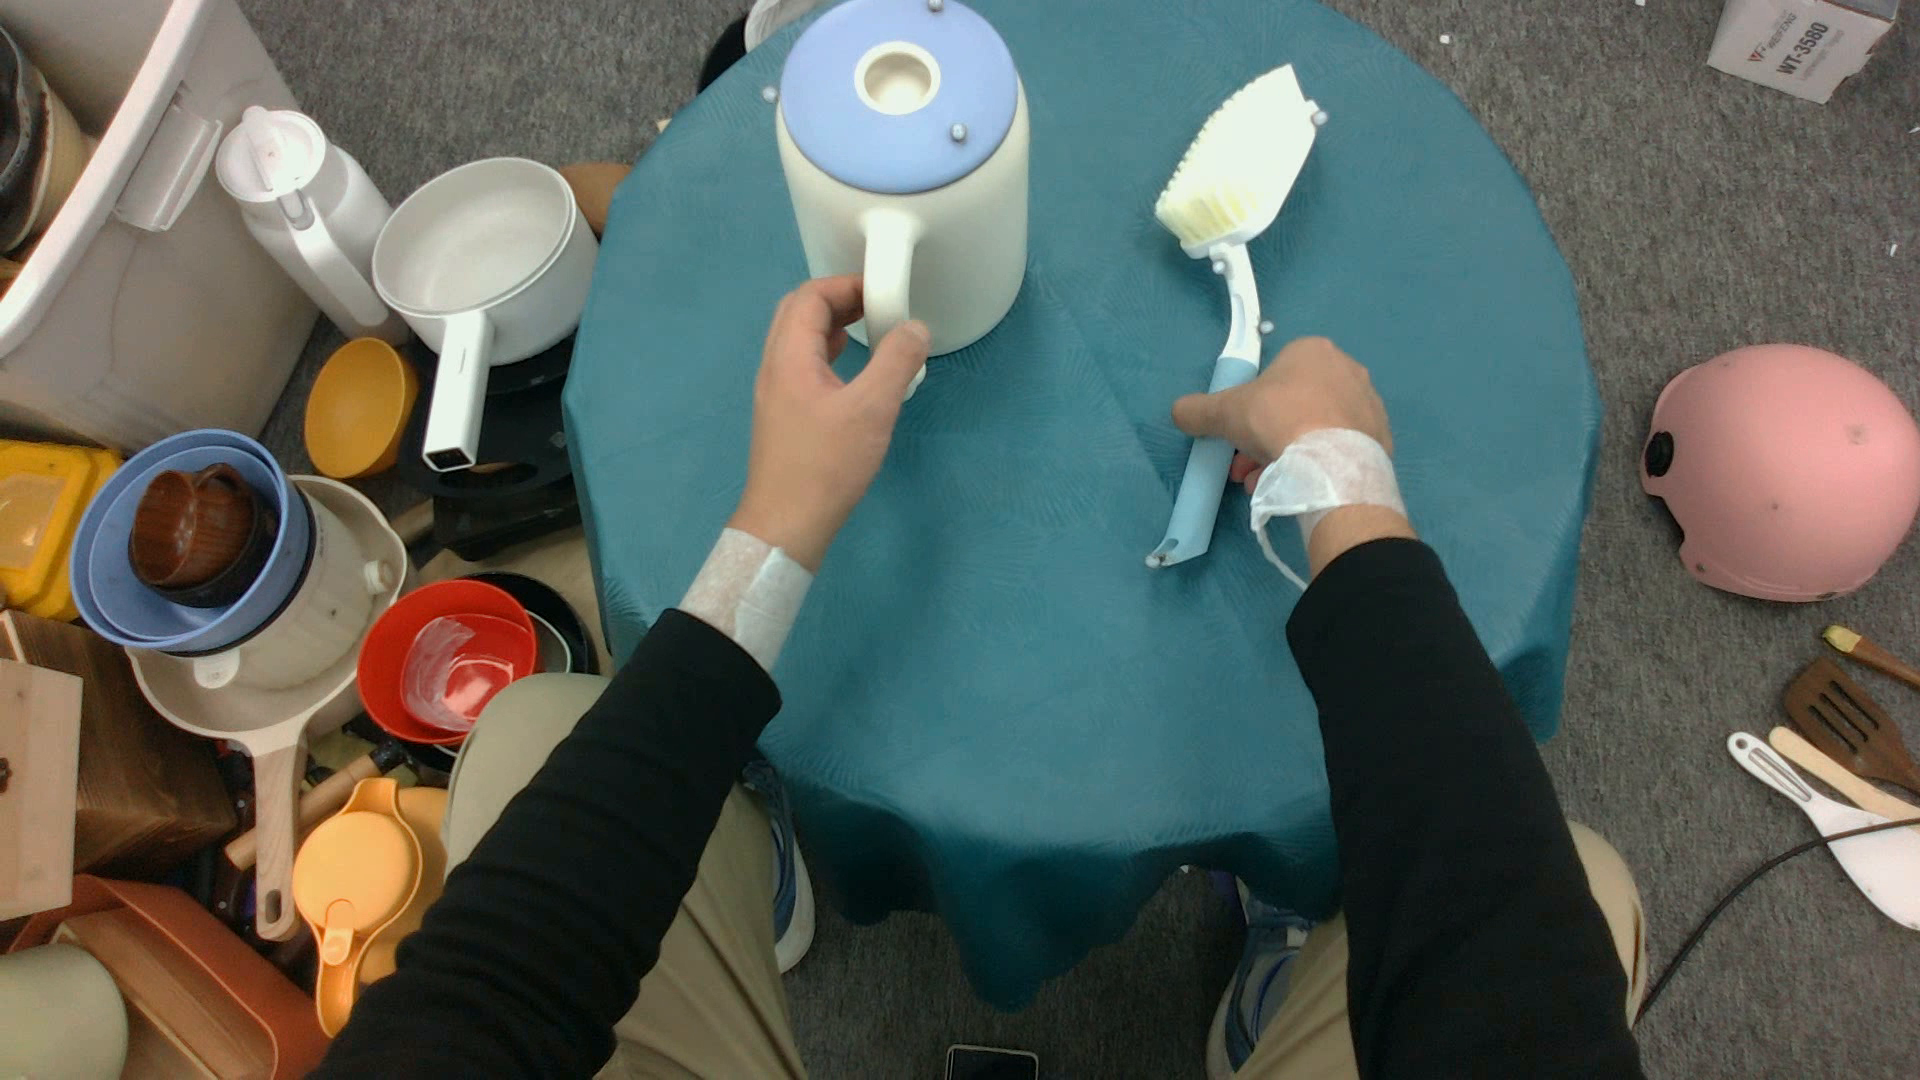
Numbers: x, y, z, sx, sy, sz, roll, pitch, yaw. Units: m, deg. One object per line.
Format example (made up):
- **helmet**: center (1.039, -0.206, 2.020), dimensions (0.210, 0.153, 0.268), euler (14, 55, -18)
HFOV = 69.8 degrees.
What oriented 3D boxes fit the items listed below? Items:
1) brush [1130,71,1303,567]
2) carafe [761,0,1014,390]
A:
- **brush**: center (0.131, -0.142, 0.785), dimensions (0.084, 0.083, 0.326), euler (18, 71, 5)
- **carafe**: center (-0.038, -0.180, 0.752), dimensions (0.132, 0.182, 0.191), euler (2, 71, 2)
